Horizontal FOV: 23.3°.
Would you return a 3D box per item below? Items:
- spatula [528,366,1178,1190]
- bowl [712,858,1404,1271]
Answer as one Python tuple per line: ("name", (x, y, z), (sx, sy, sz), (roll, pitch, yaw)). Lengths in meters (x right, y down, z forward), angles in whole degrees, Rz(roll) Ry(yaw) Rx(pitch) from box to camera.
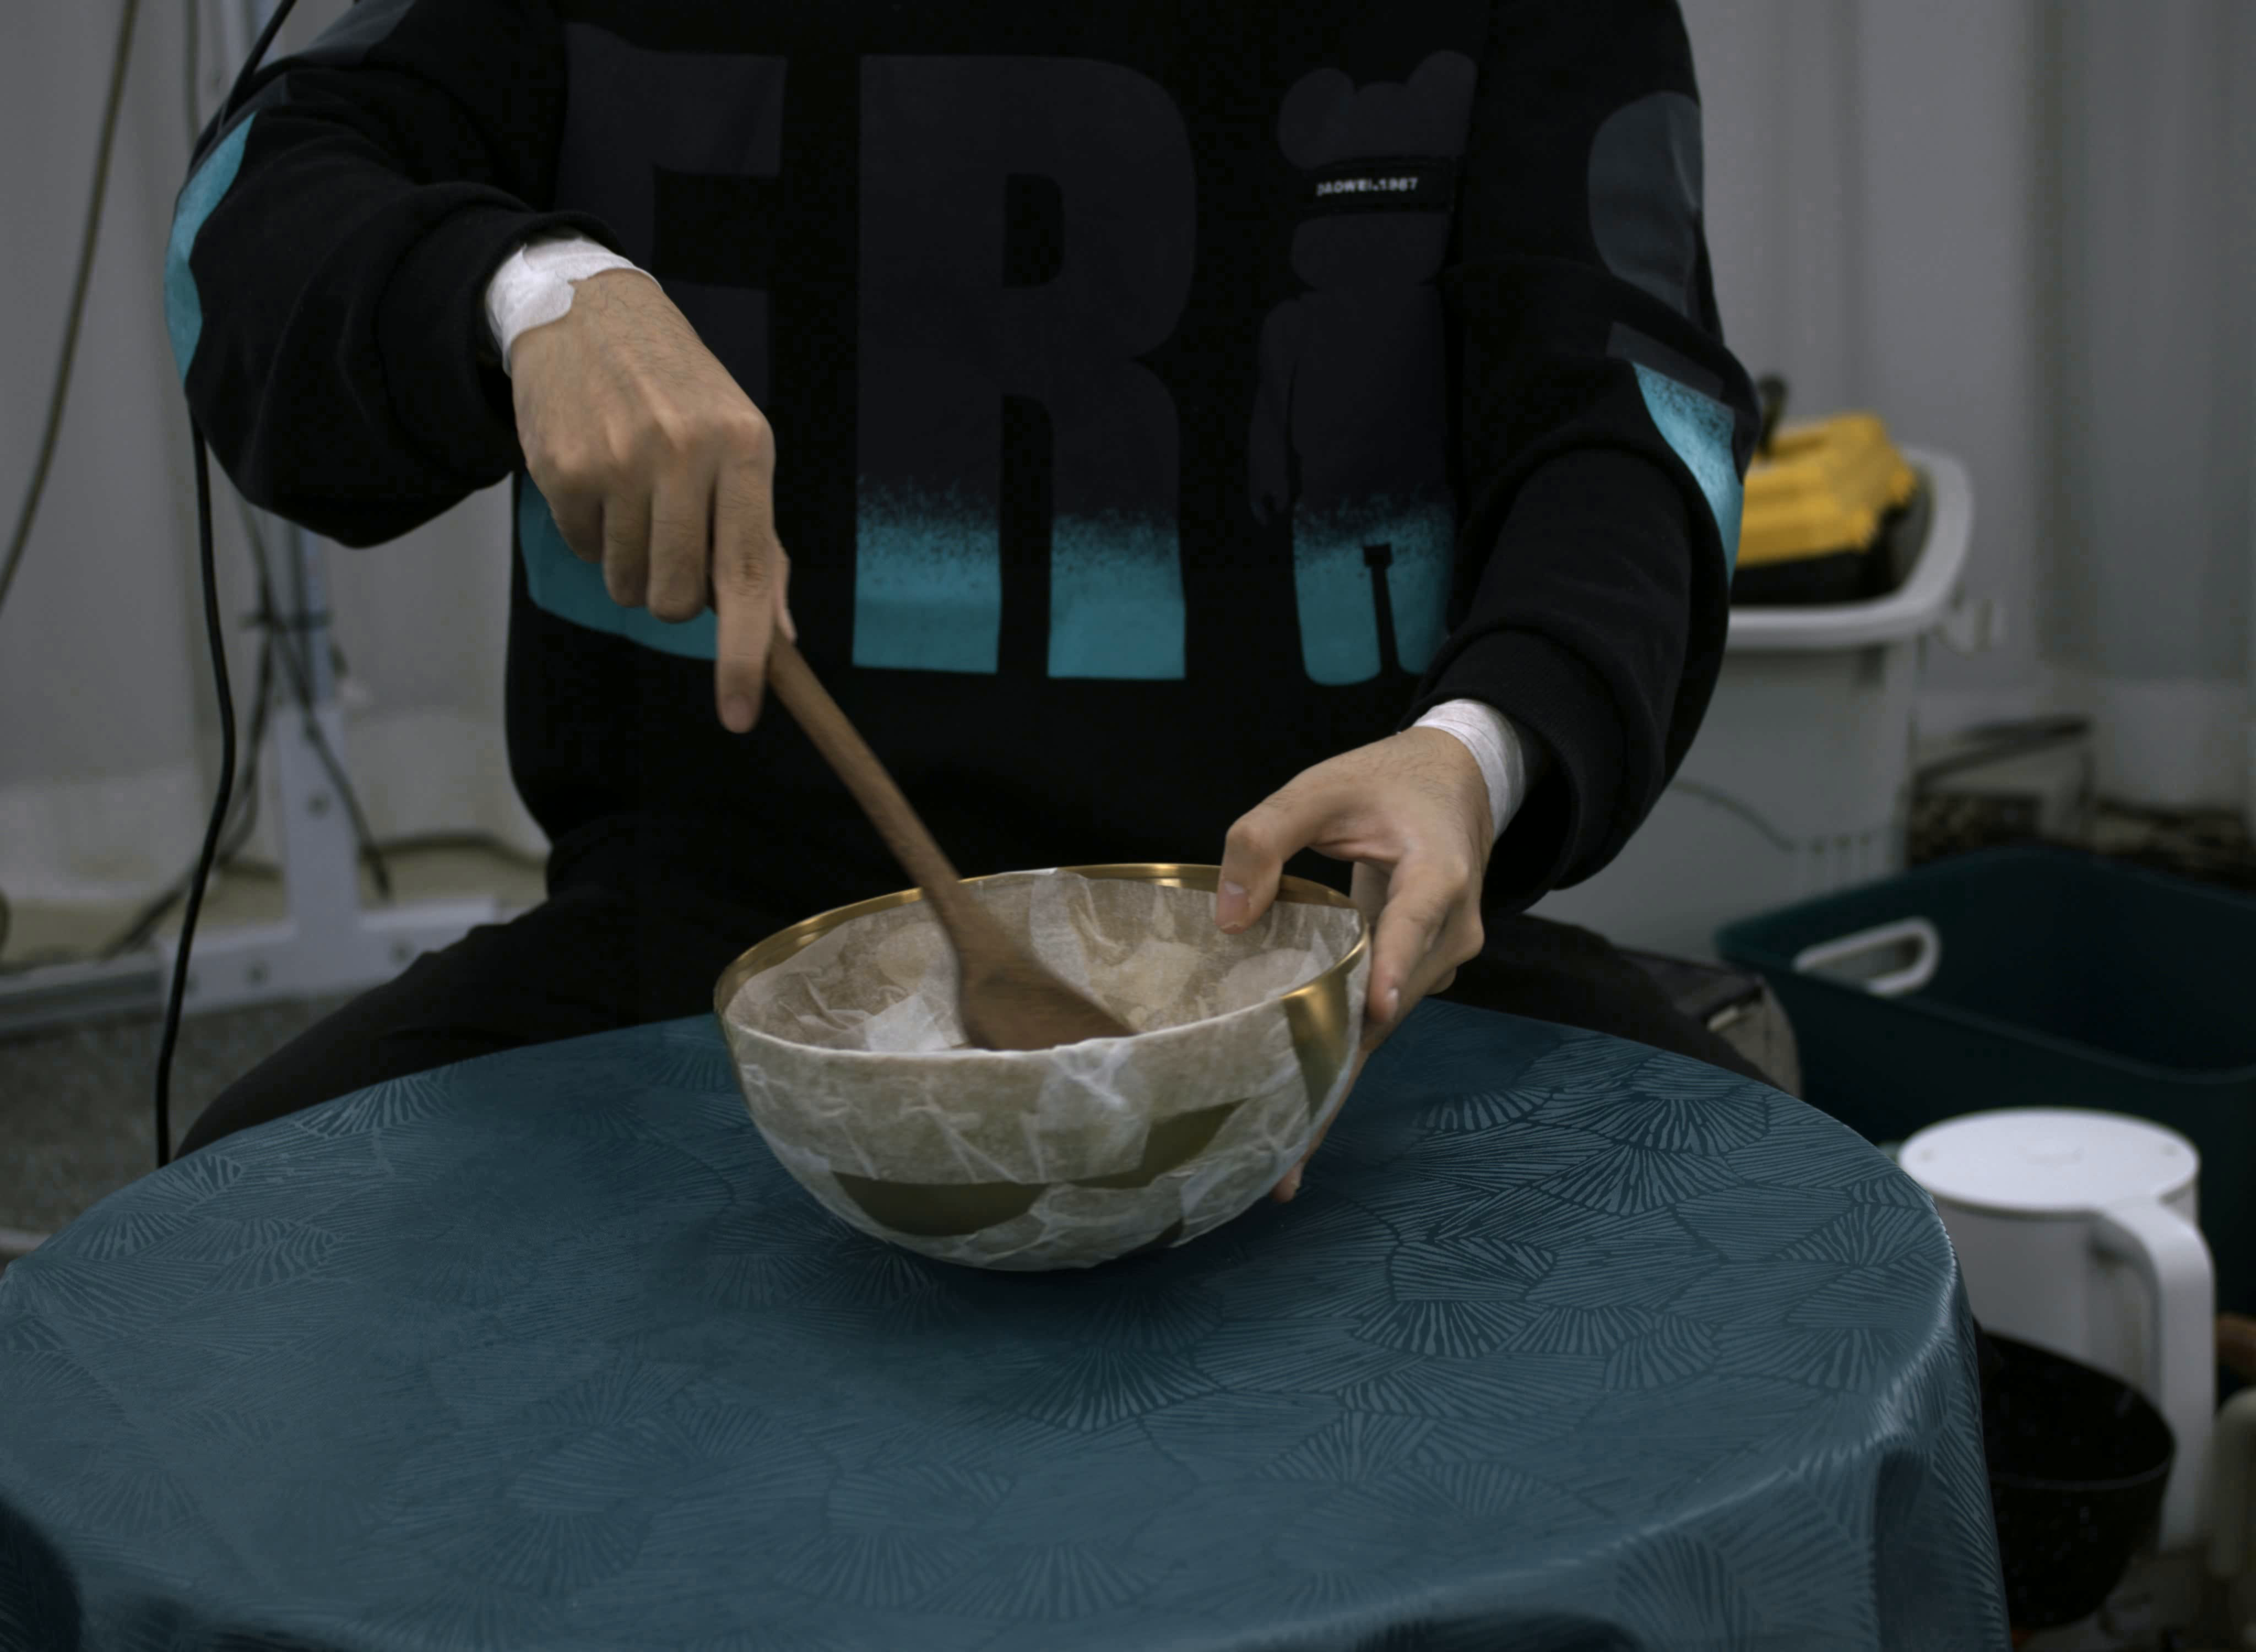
("spatula", (-0.091, -0.023, 1.694), (0.095, 0.016, 0.391), (15, 31, -51))
("bowl", (-0.017, 0.080, 1.658), (0.214, 0.094, 0.216), (-6, 13, 1))
